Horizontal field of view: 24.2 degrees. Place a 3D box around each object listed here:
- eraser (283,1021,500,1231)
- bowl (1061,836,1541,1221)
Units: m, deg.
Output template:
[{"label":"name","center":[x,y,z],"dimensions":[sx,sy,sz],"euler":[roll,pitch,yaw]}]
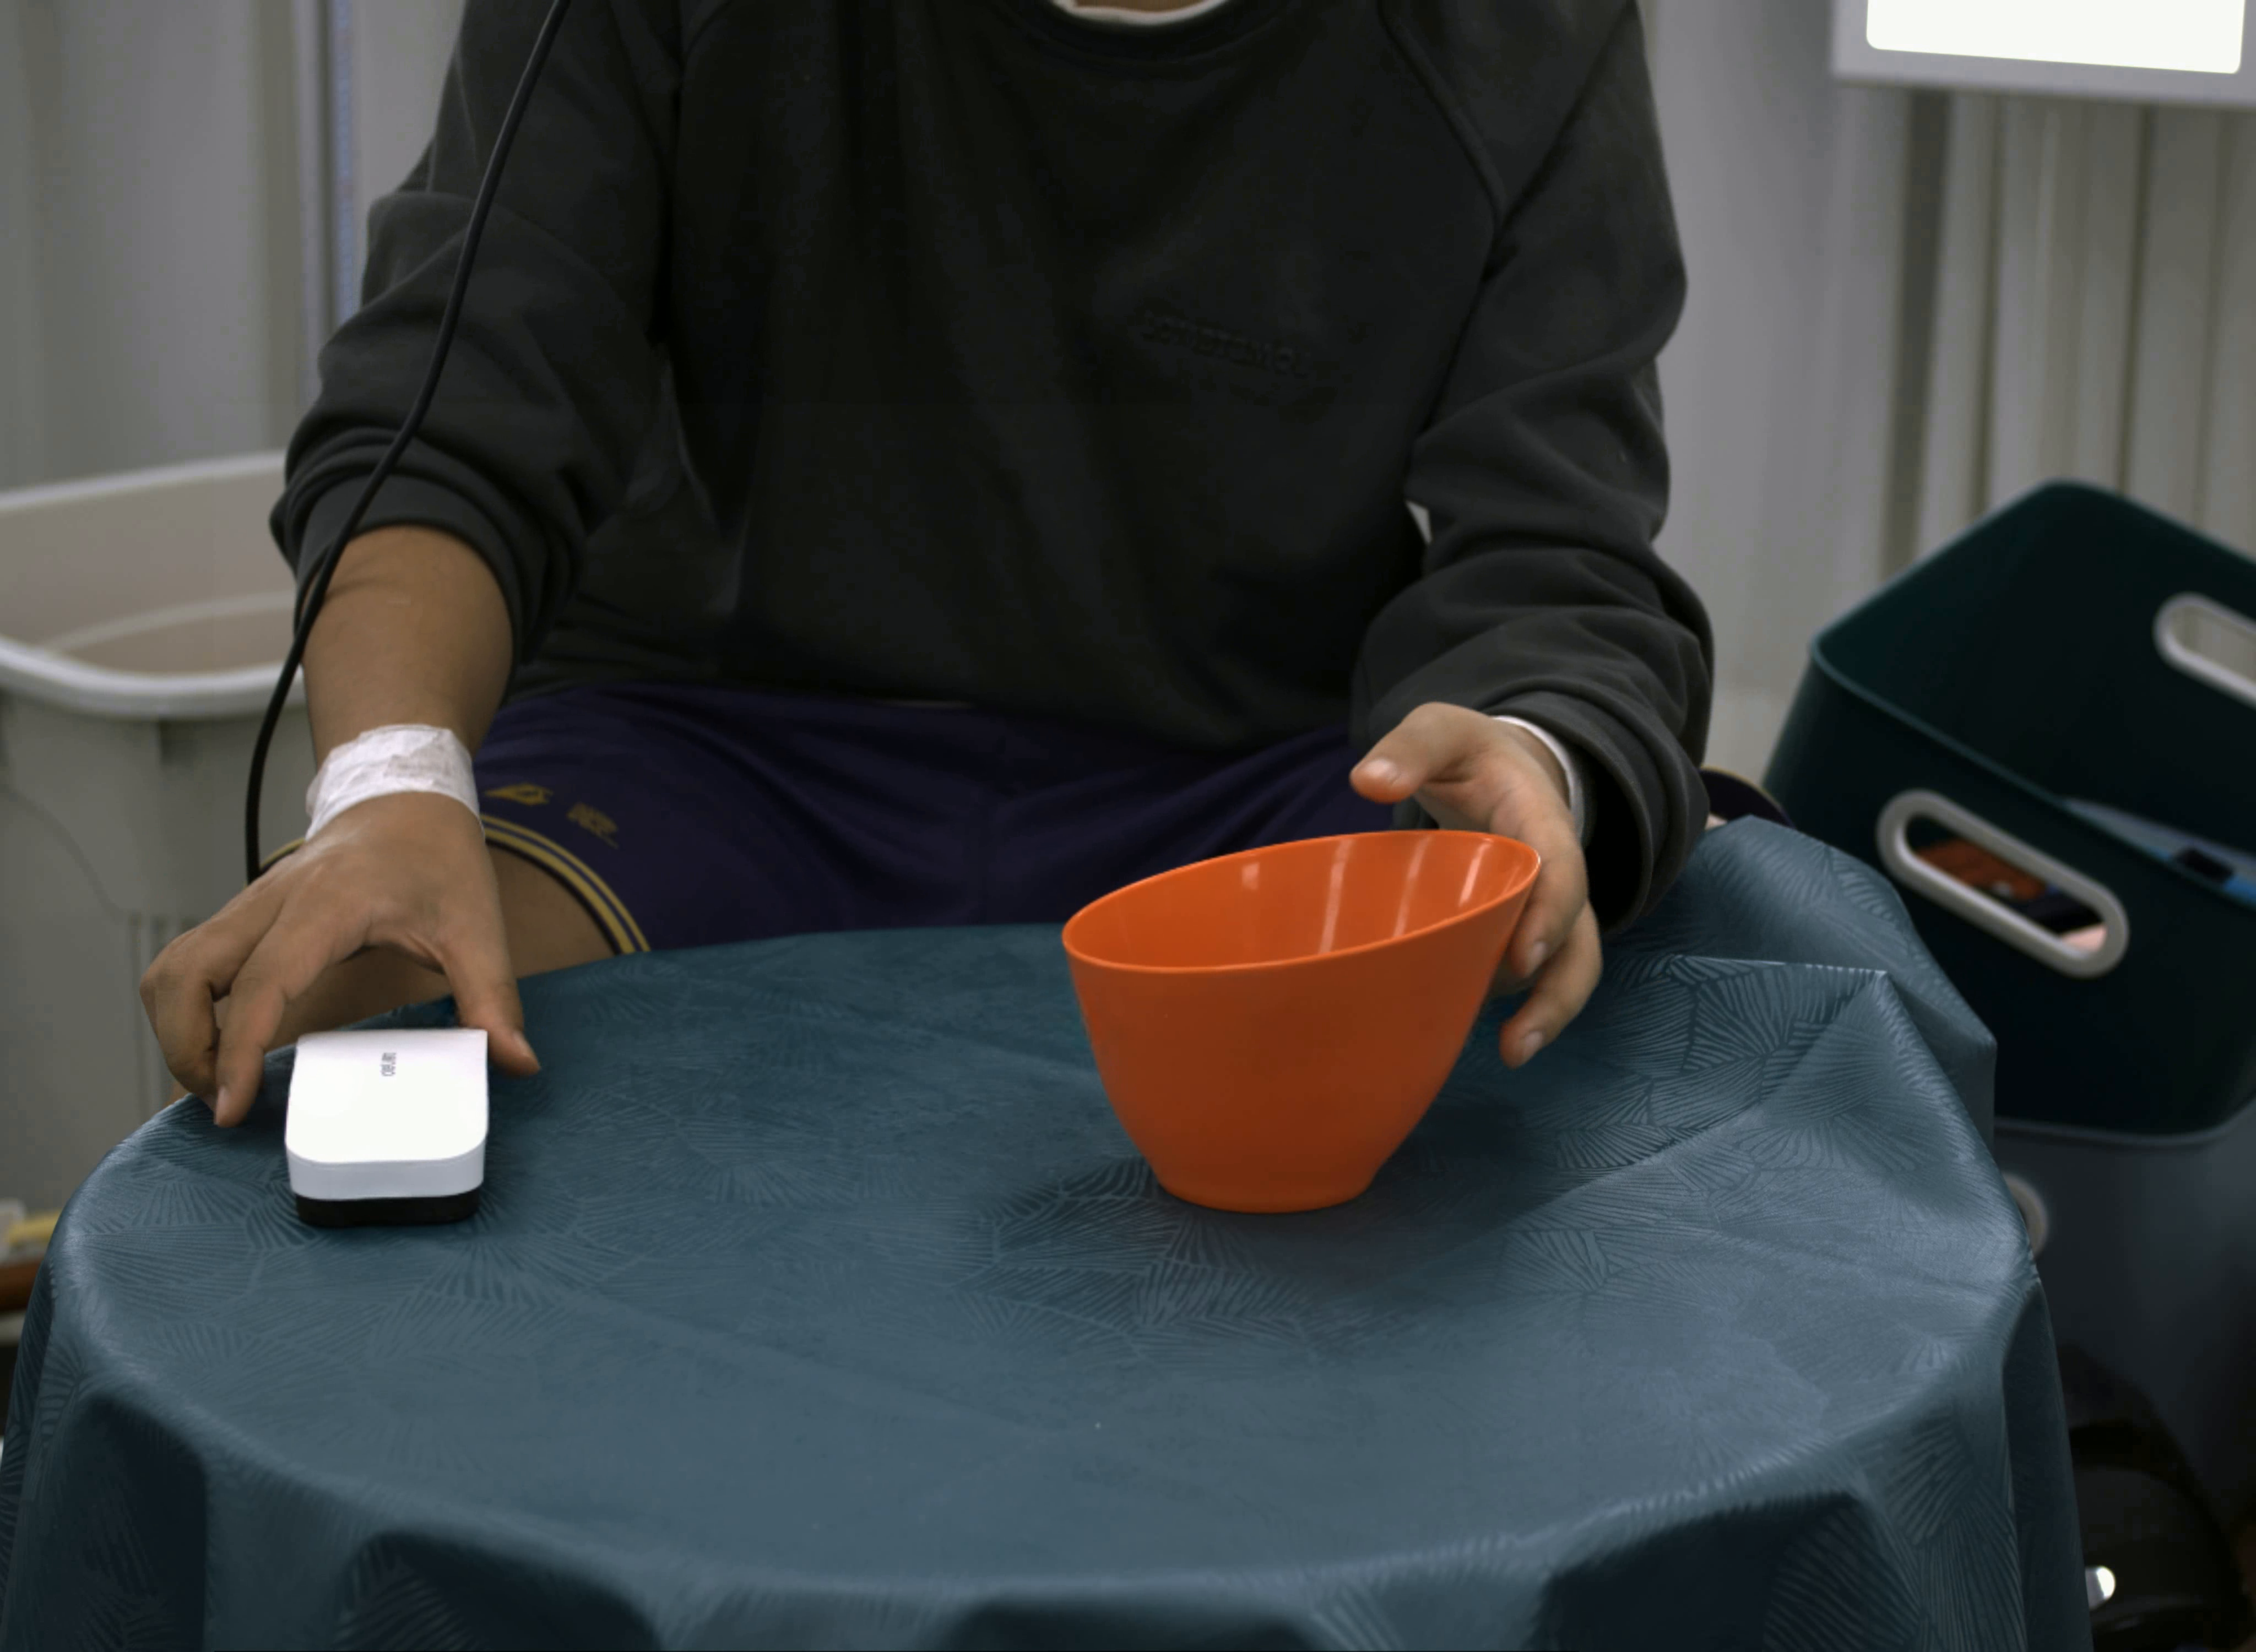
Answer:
[{"label":"eraser","center":[-0.228,0.089,1.639],"dimensions":[0.063,0.035,0.130],"euler":[0,17,-5]},{"label":"bowl","center":[0.053,0.063,1.617],"dimensions":[0.147,0.105,0.147],"euler":[0,16,1]}]
